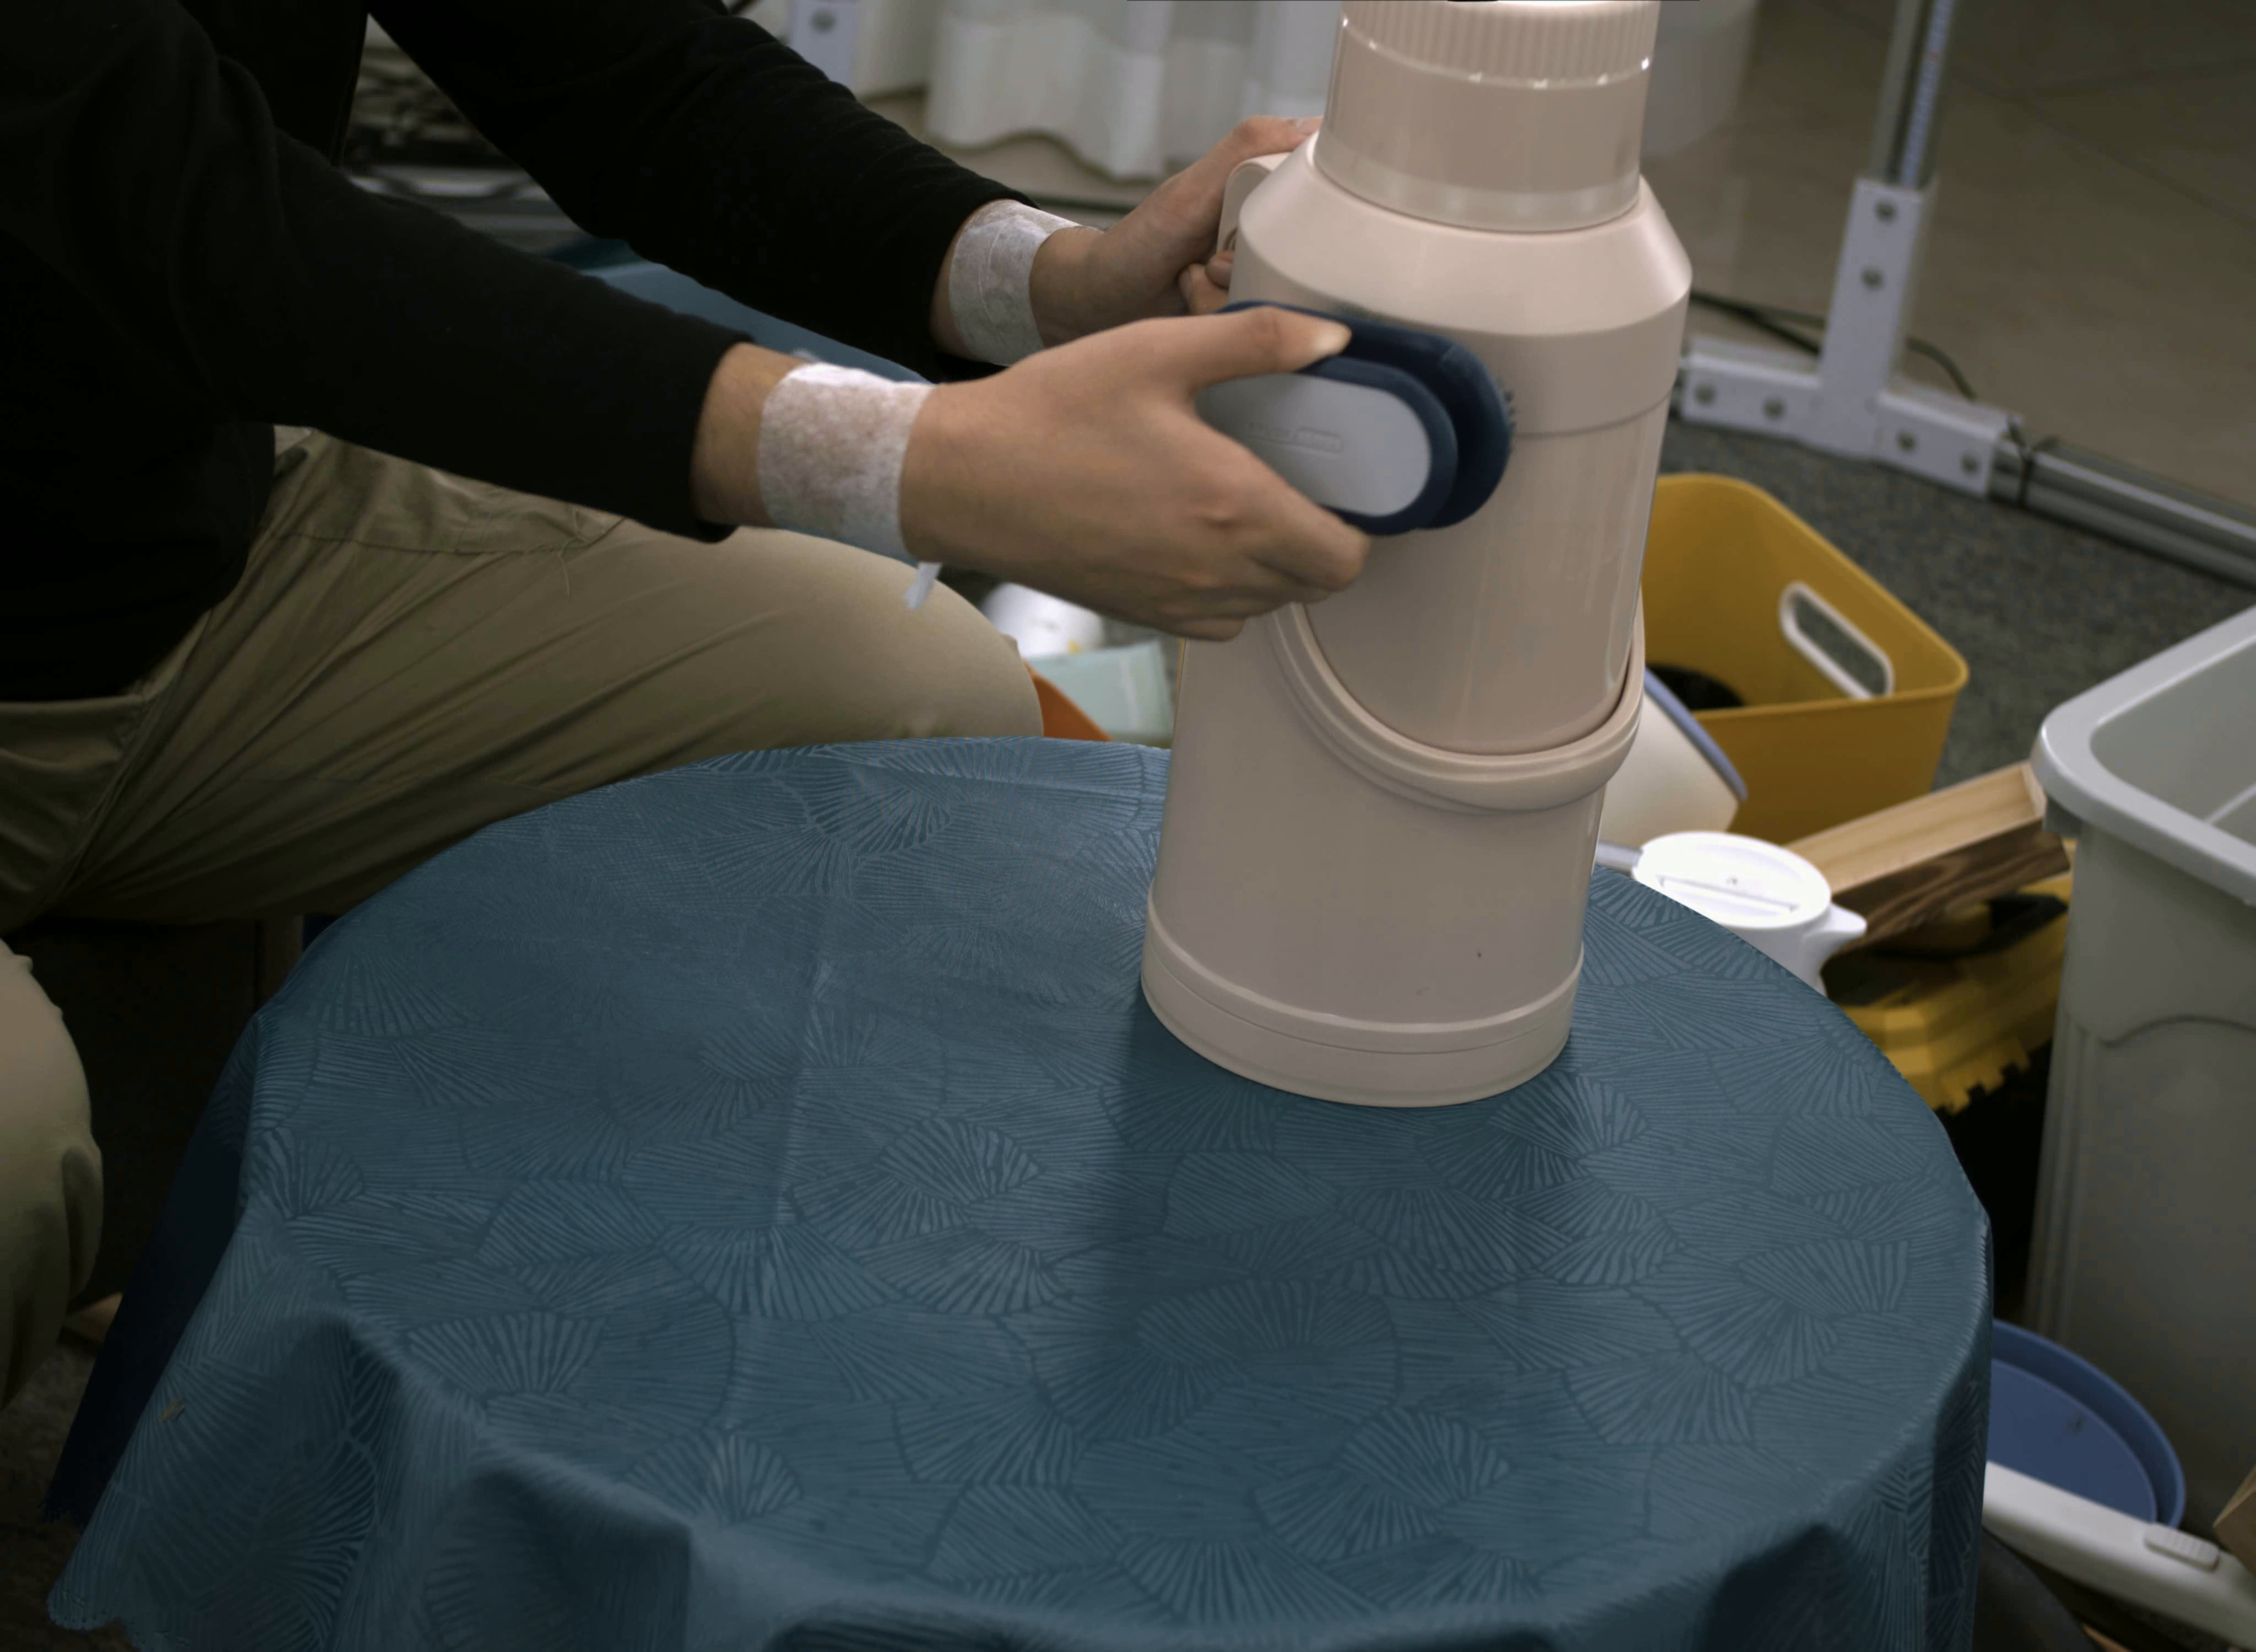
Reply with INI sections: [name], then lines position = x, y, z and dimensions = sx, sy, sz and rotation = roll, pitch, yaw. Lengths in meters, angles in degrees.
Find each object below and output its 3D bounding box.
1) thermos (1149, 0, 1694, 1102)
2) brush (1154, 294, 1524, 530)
[thermos]
position = 0.098, -0.120, 1.865
dimensions = 0.174, 0.405, 0.209
rotation = -15, 34, -34
[brush]
position = 0.070, -0.135, 1.728
dimensions = 0.122, 0.068, 0.061
rotation = 16, 25, 26
